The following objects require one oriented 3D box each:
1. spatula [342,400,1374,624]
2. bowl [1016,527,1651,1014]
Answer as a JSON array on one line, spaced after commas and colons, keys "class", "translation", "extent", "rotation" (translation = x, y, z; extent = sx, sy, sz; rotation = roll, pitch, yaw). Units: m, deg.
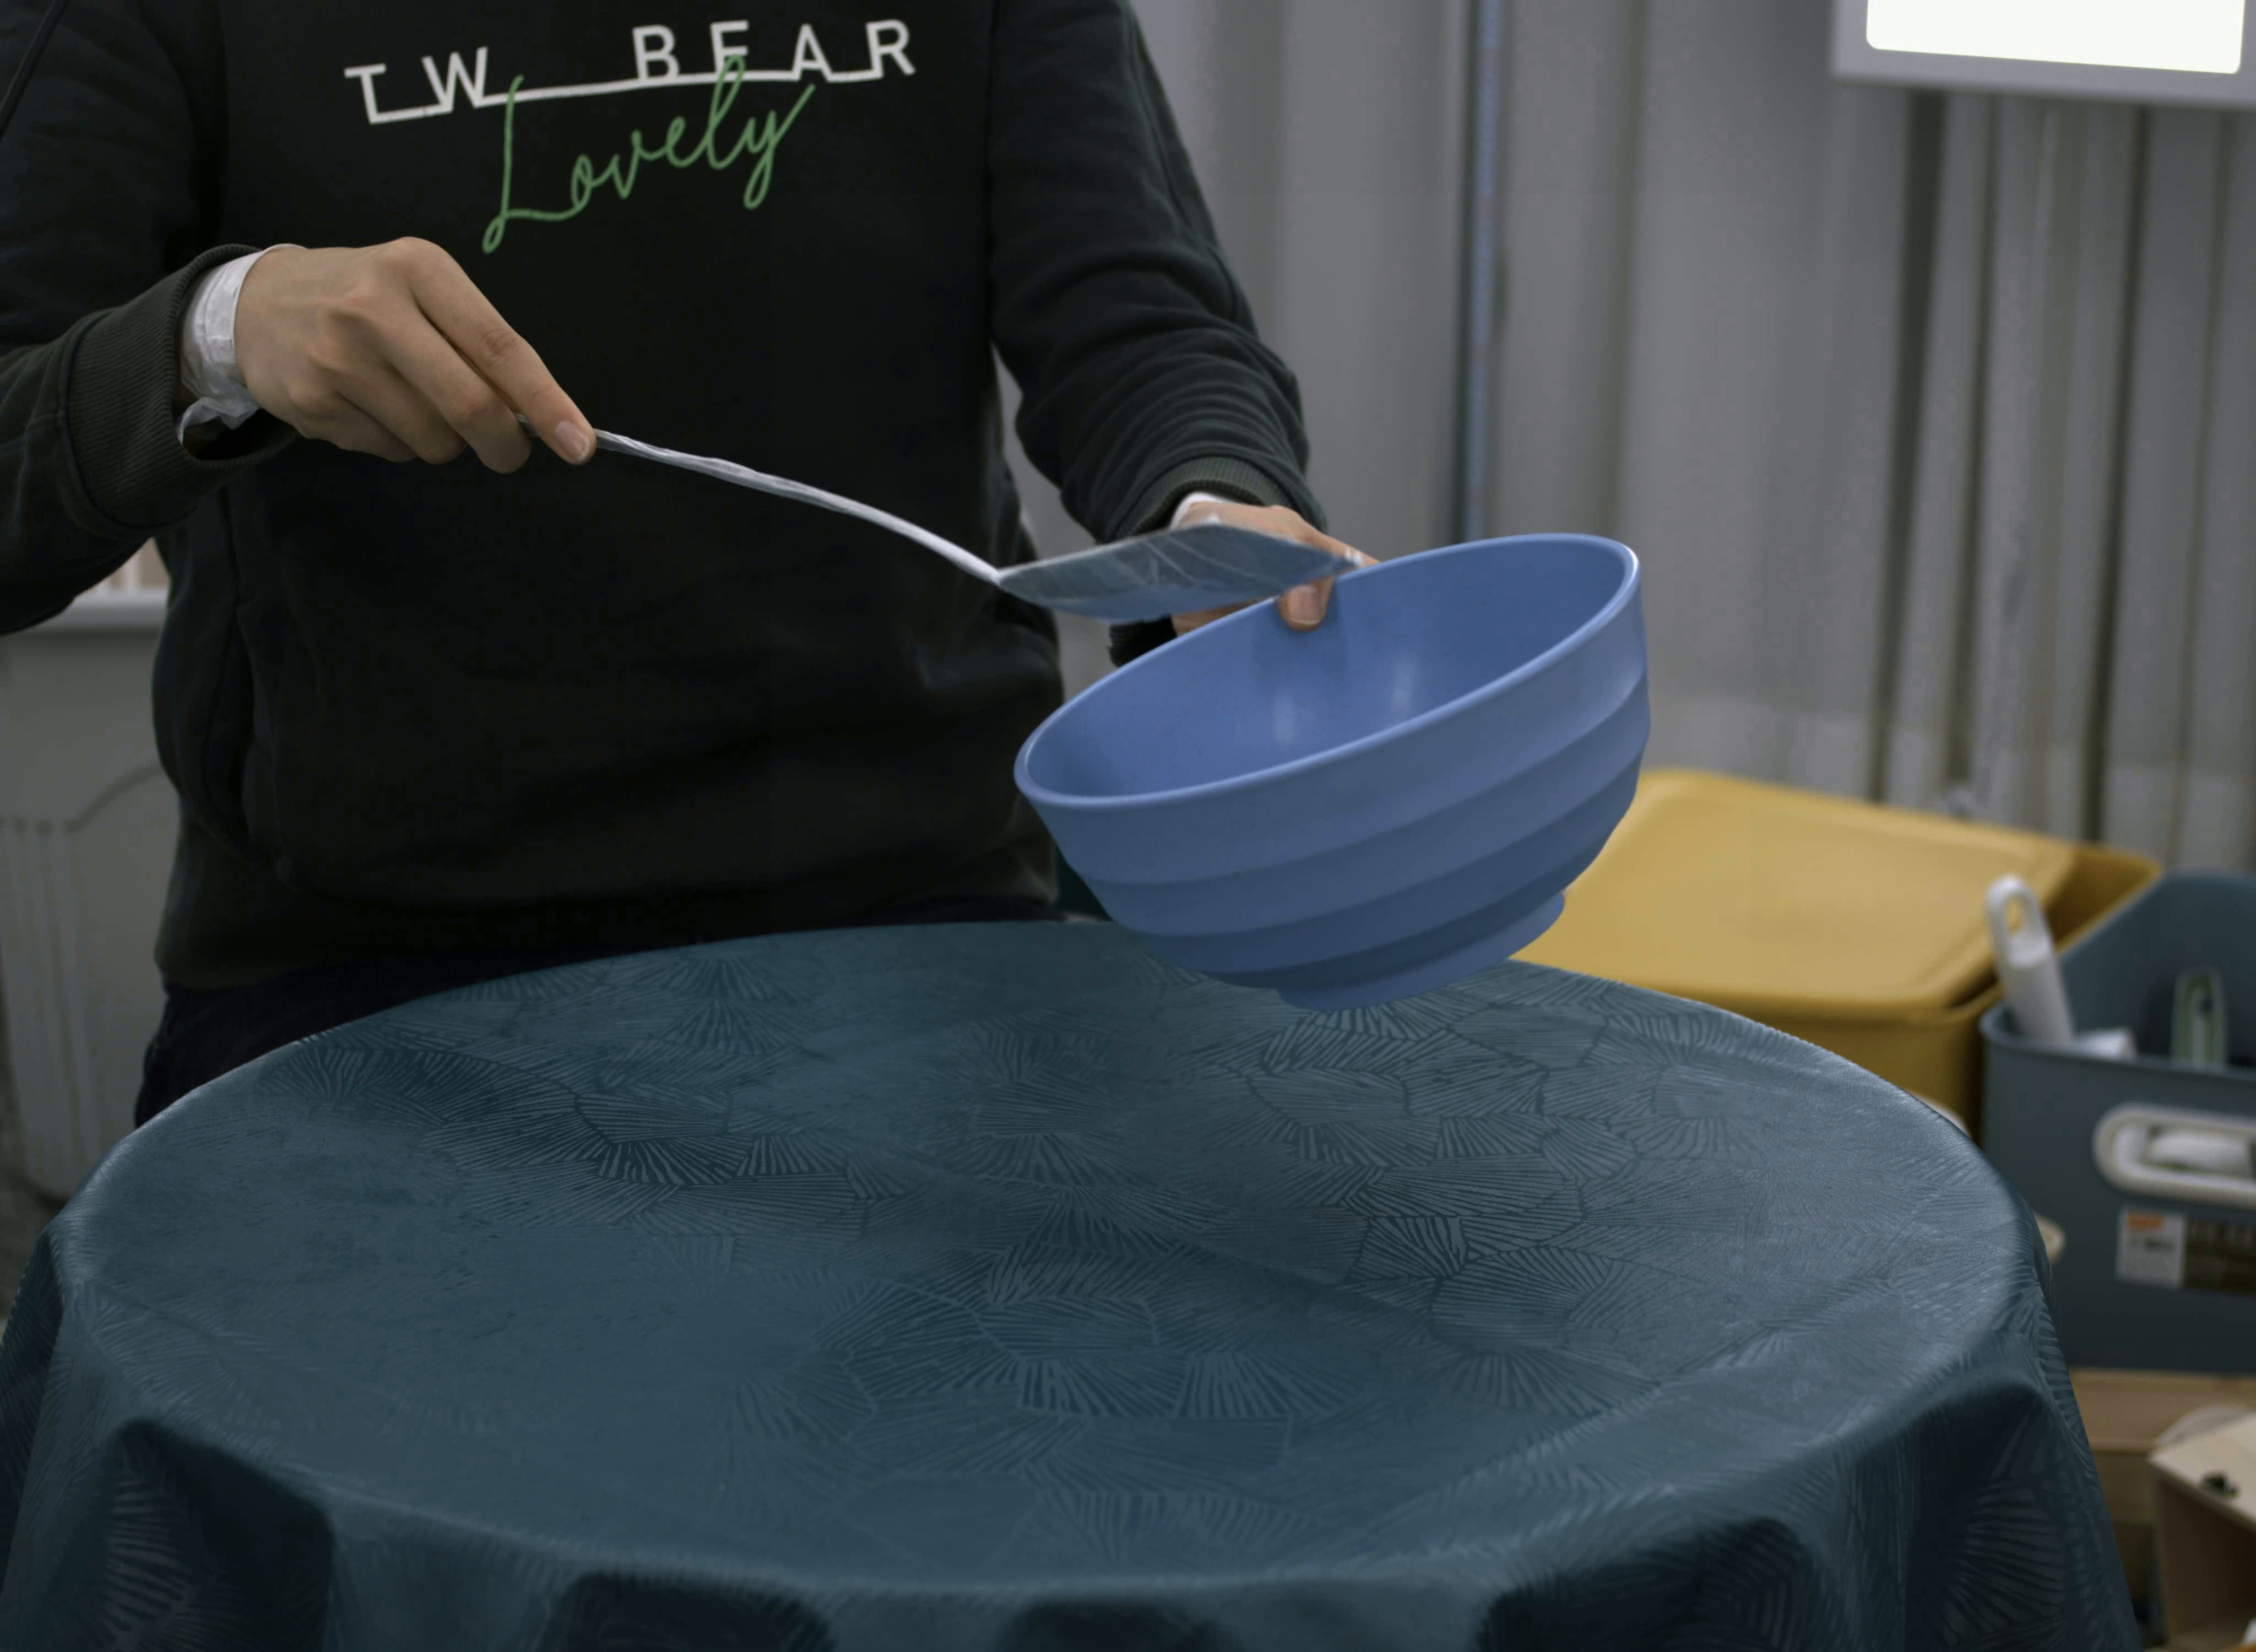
[{"class": "spatula", "translation": [-0.098, -0.106, 1.603], "extent": [0.360, 0.045, 0.099], "rotation": [17, 4, 26]}, {"class": "bowl", "translation": [0.073, -0.006, 1.574], "extent": [0.196, 0.096, 0.195], "rotation": [-18, 18, 7]}]
